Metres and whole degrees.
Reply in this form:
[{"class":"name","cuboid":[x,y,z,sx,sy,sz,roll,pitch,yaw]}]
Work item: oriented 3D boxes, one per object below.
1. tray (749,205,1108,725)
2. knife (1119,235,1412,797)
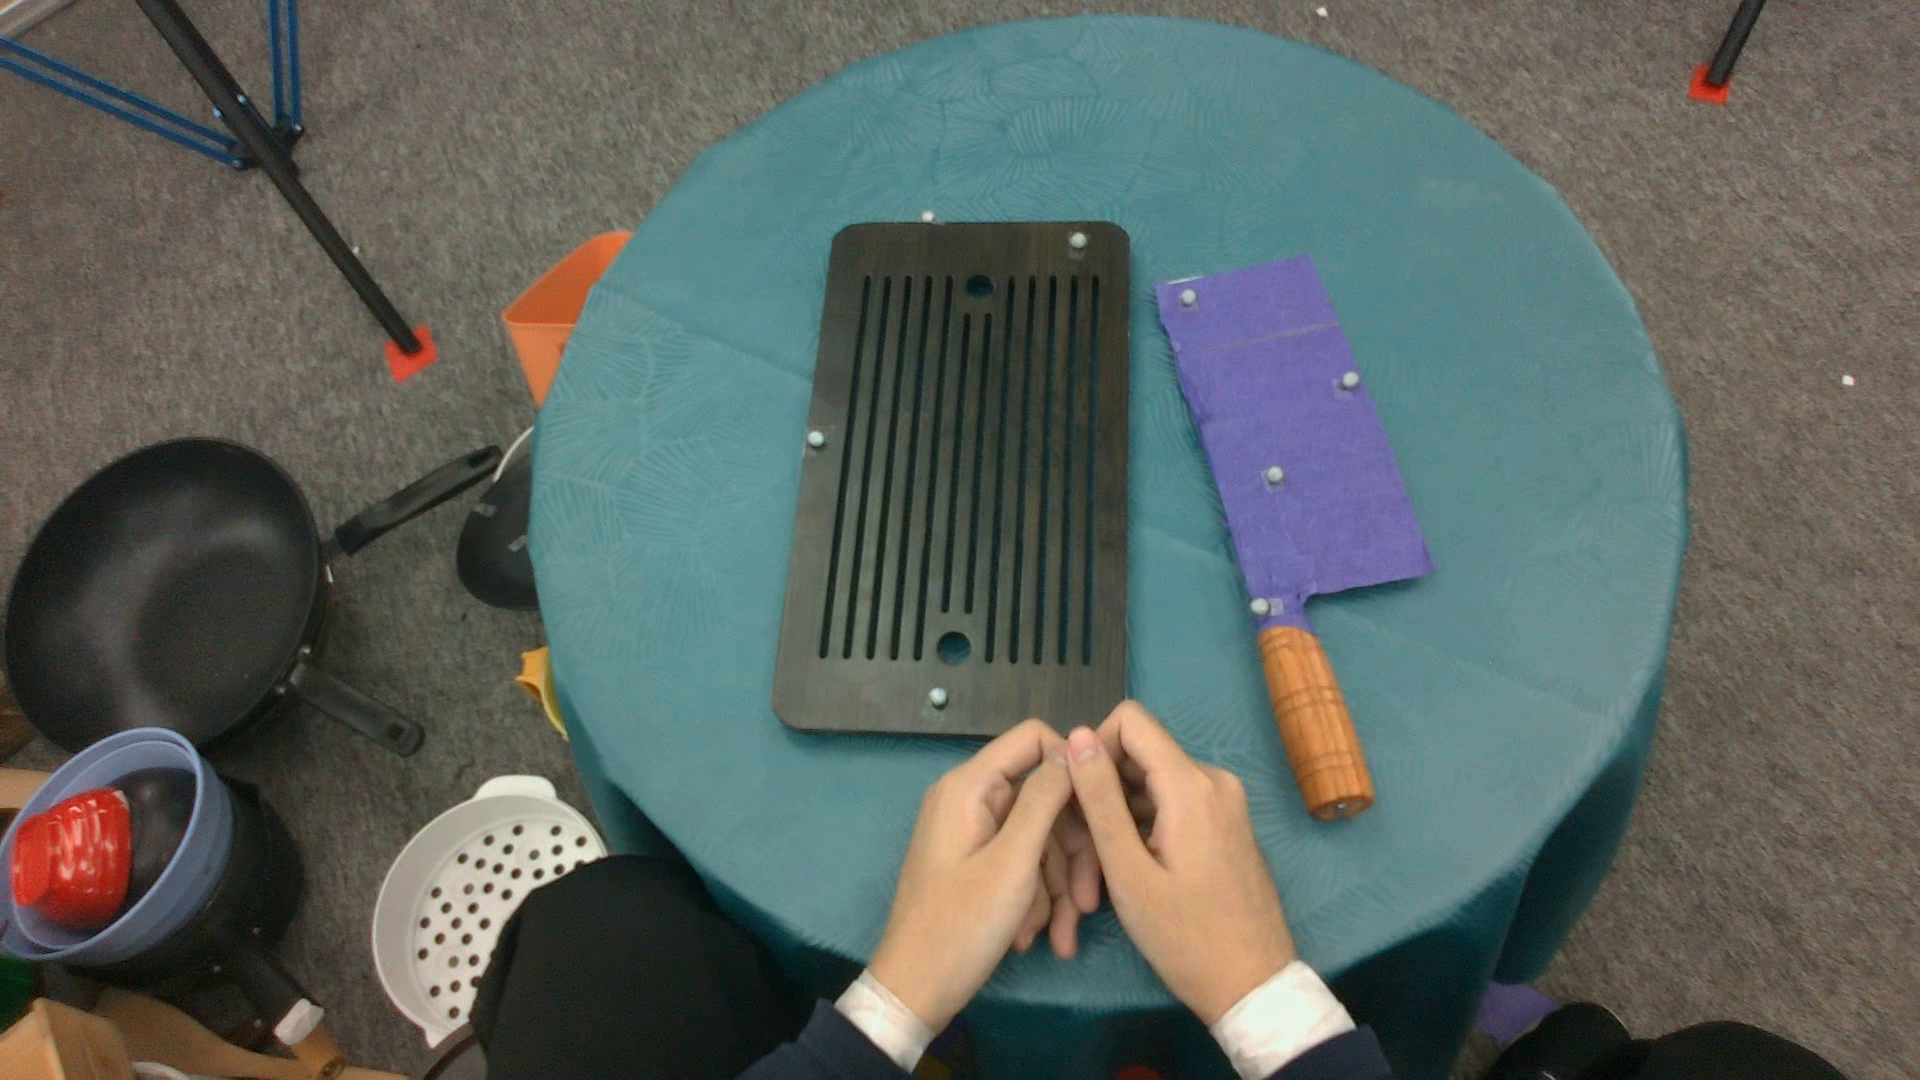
[{"class":"tray","cuboid":[-0.009,-0.050,0.715,0.170,0.018,0.307,1,63,5]},{"class":"knife","cuboid":[0.166,-0.032,0.685,0.104,0.032,0.316,-12,62,-1]}]
